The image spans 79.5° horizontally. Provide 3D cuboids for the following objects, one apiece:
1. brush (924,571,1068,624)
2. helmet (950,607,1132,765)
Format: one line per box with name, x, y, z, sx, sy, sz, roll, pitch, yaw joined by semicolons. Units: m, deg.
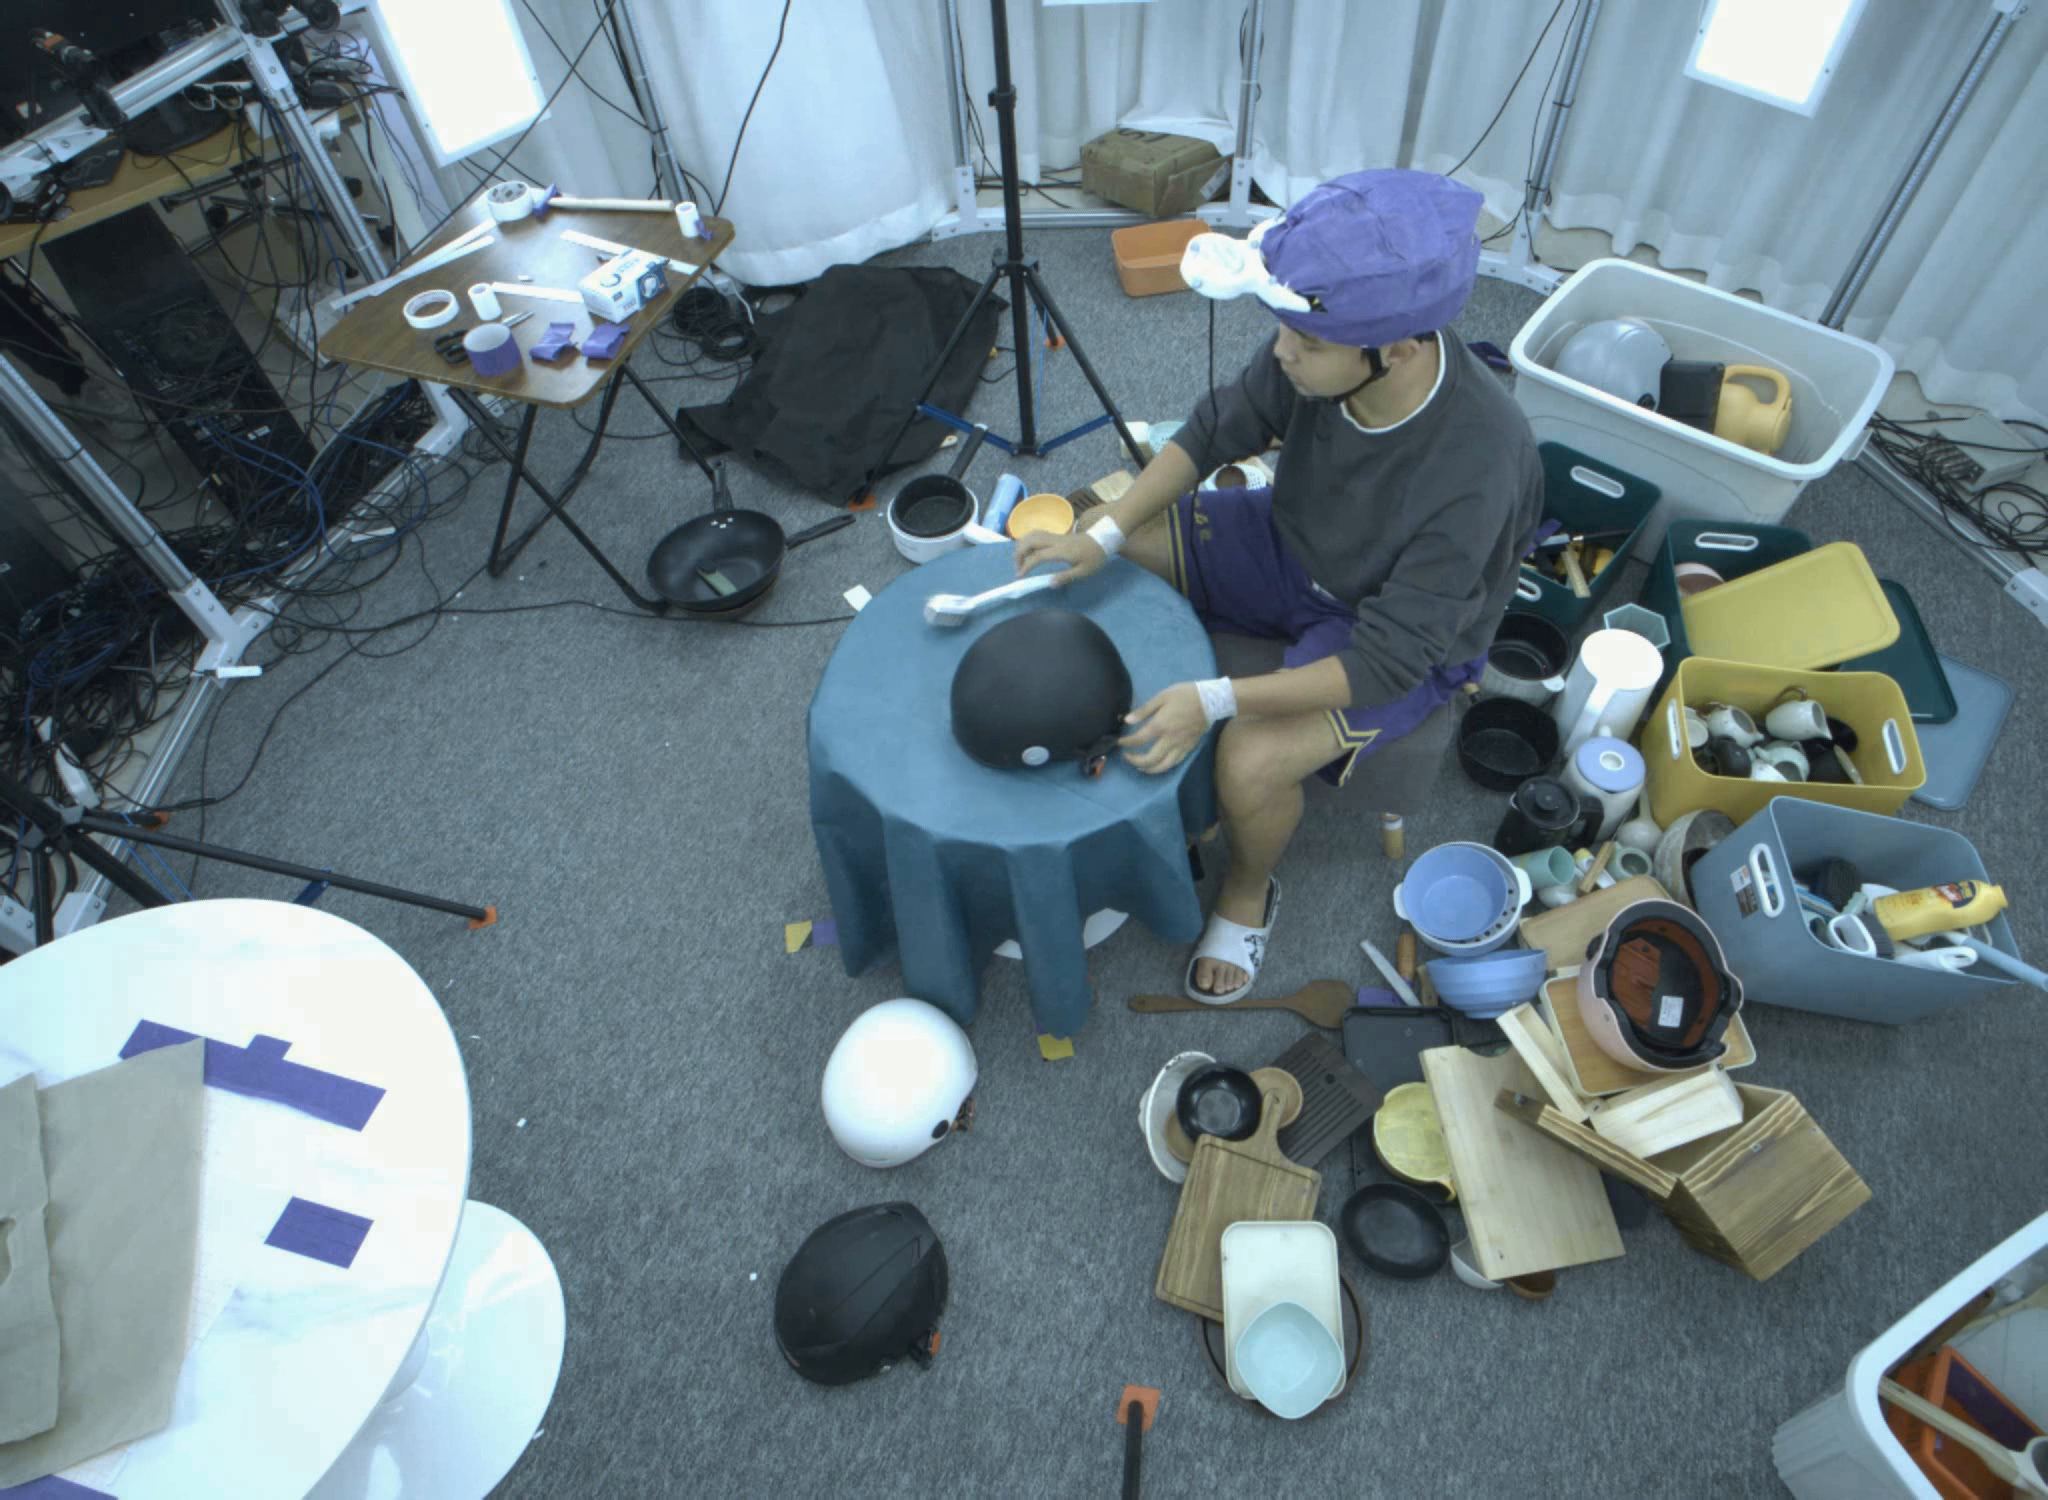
brush;-0.042;-0.240;1.948;0.247;0.050;0.034;-14;50;-24
helmet;0.018;-0.108;1.769;0.274;0.169;0.226;-15;52;-6
